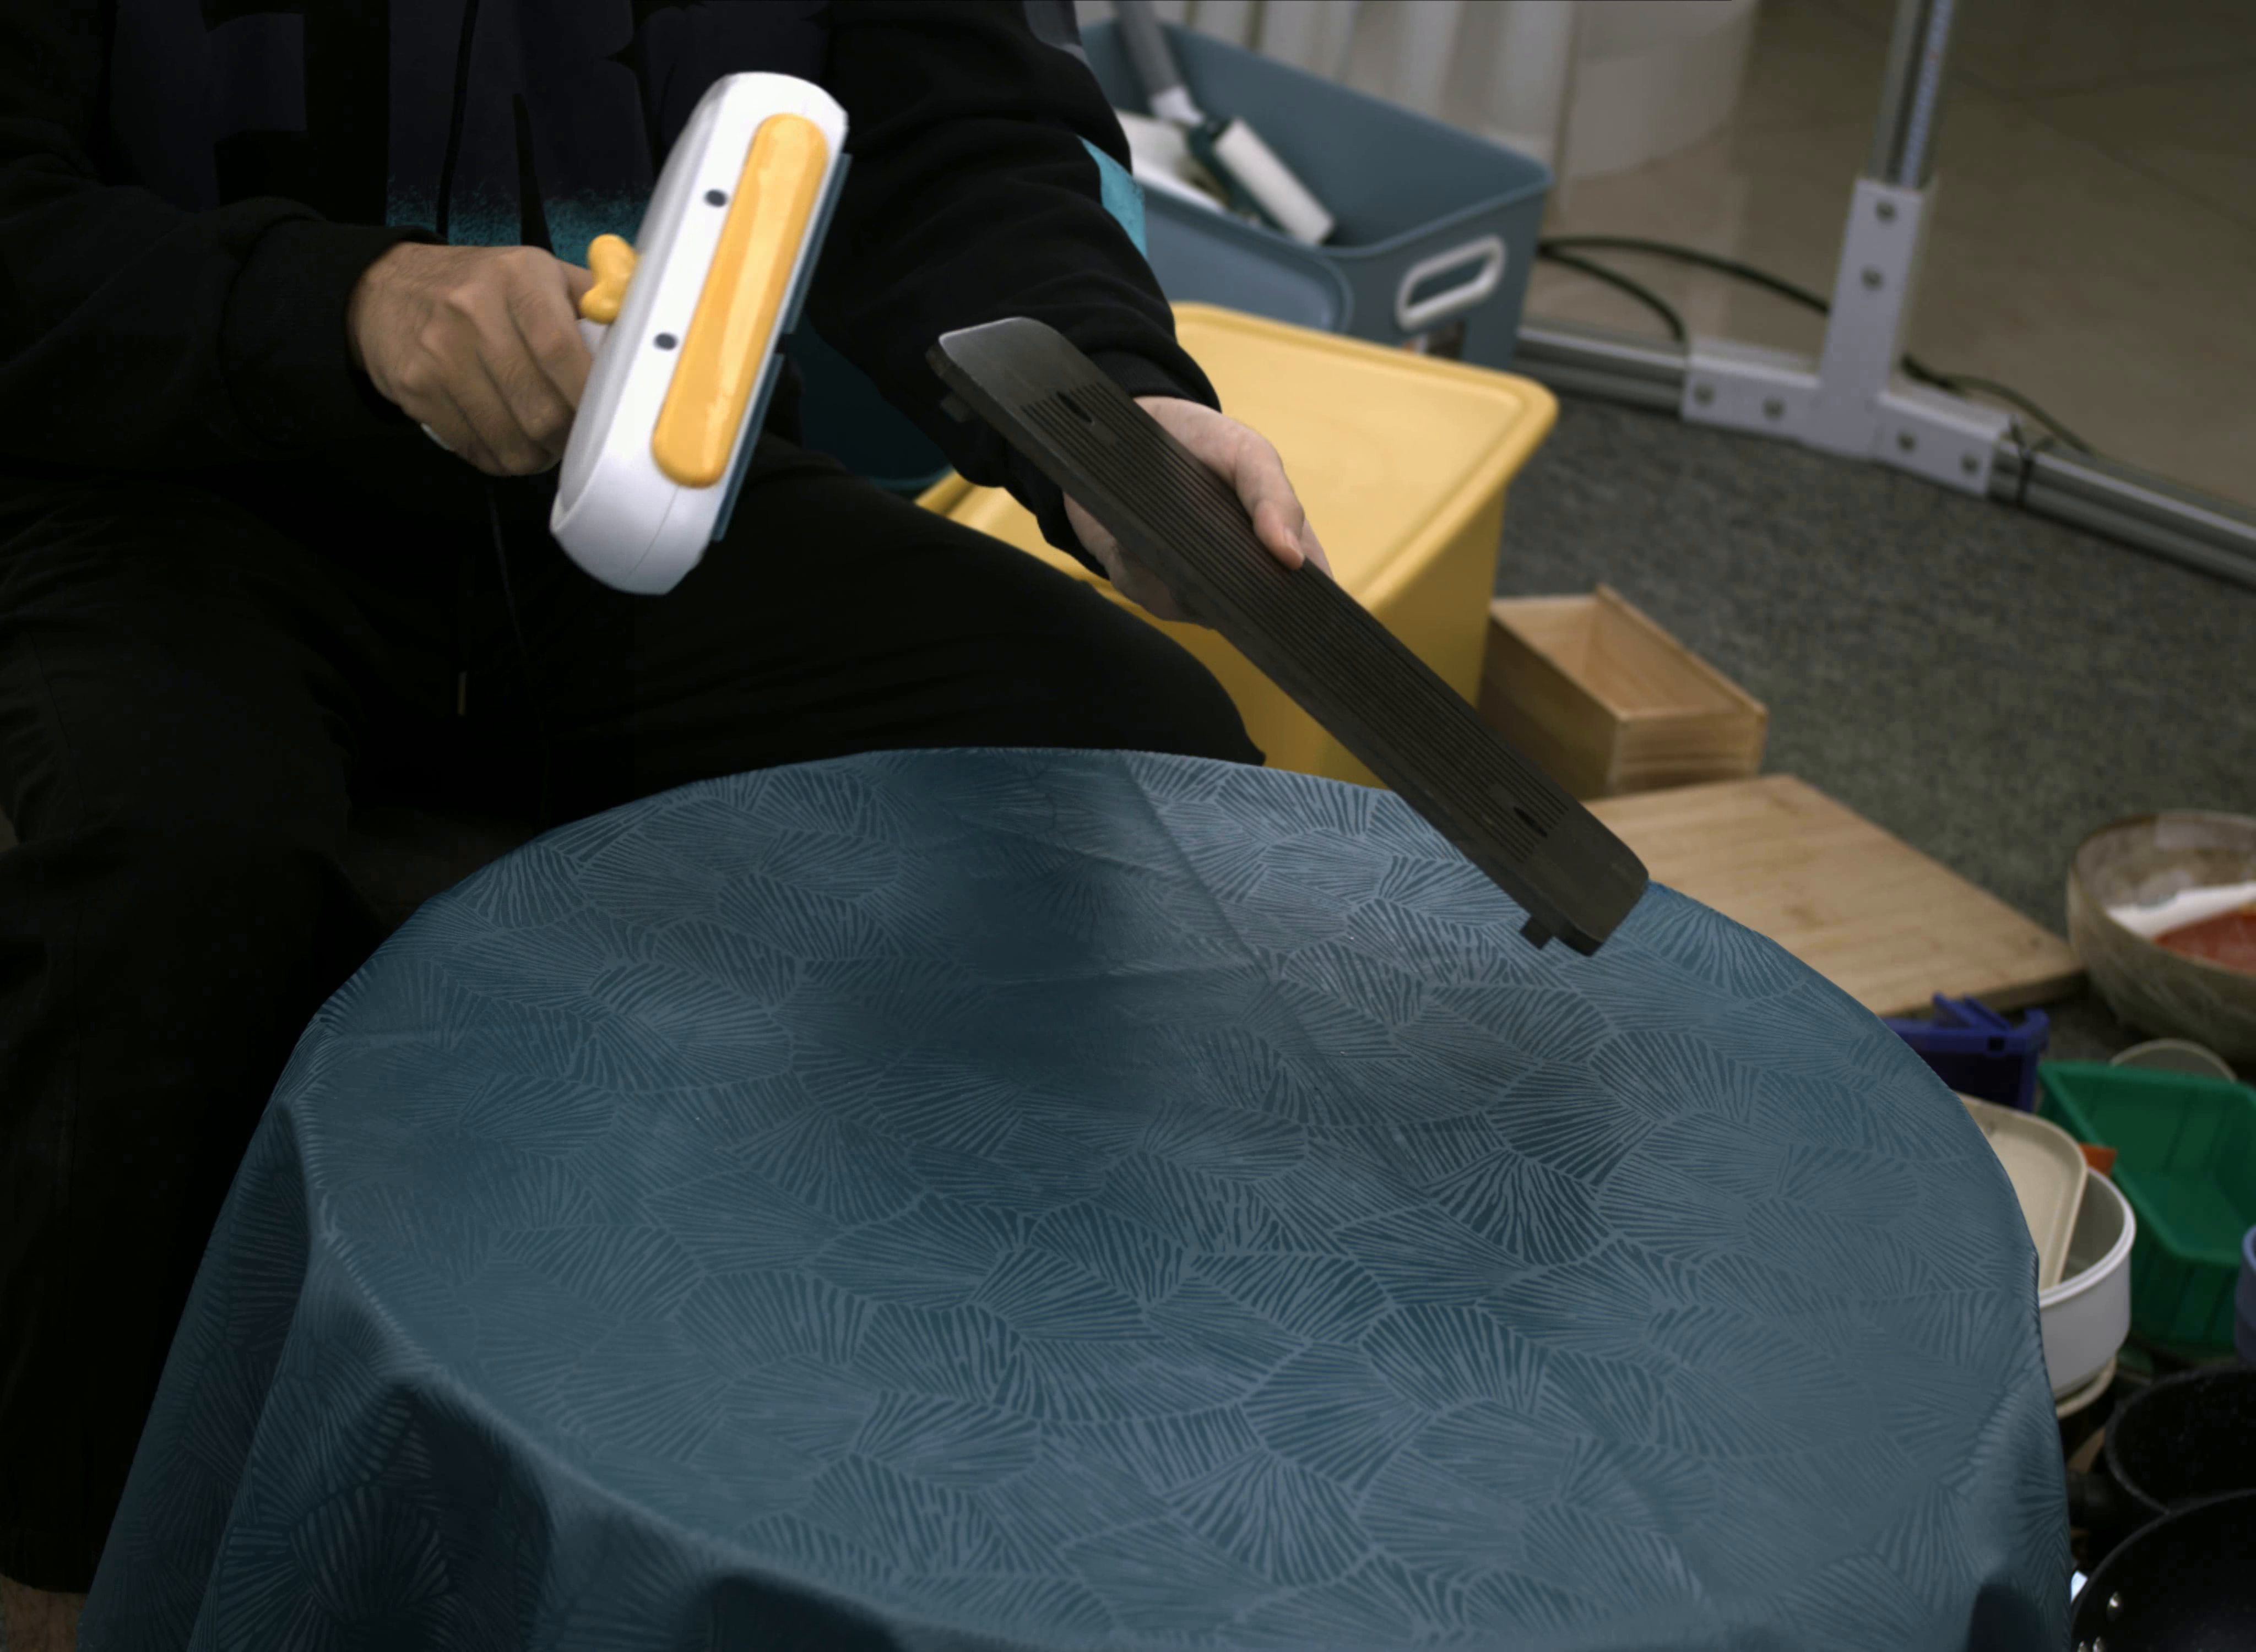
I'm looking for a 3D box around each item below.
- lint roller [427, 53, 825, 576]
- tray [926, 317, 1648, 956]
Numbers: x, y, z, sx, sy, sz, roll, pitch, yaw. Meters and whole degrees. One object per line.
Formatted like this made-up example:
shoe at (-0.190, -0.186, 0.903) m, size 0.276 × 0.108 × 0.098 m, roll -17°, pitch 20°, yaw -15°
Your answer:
lint roller at (-0.183, -0.161, 1.863) m, size 0.073 × 0.192 × 0.194 m, roll 21°, pitch 63°, yaw -23°
tray at (0.057, -0.068, 1.860) m, size 0.306 × 0.018 × 0.170 m, roll 42°, pitch 13°, yaw 4°
